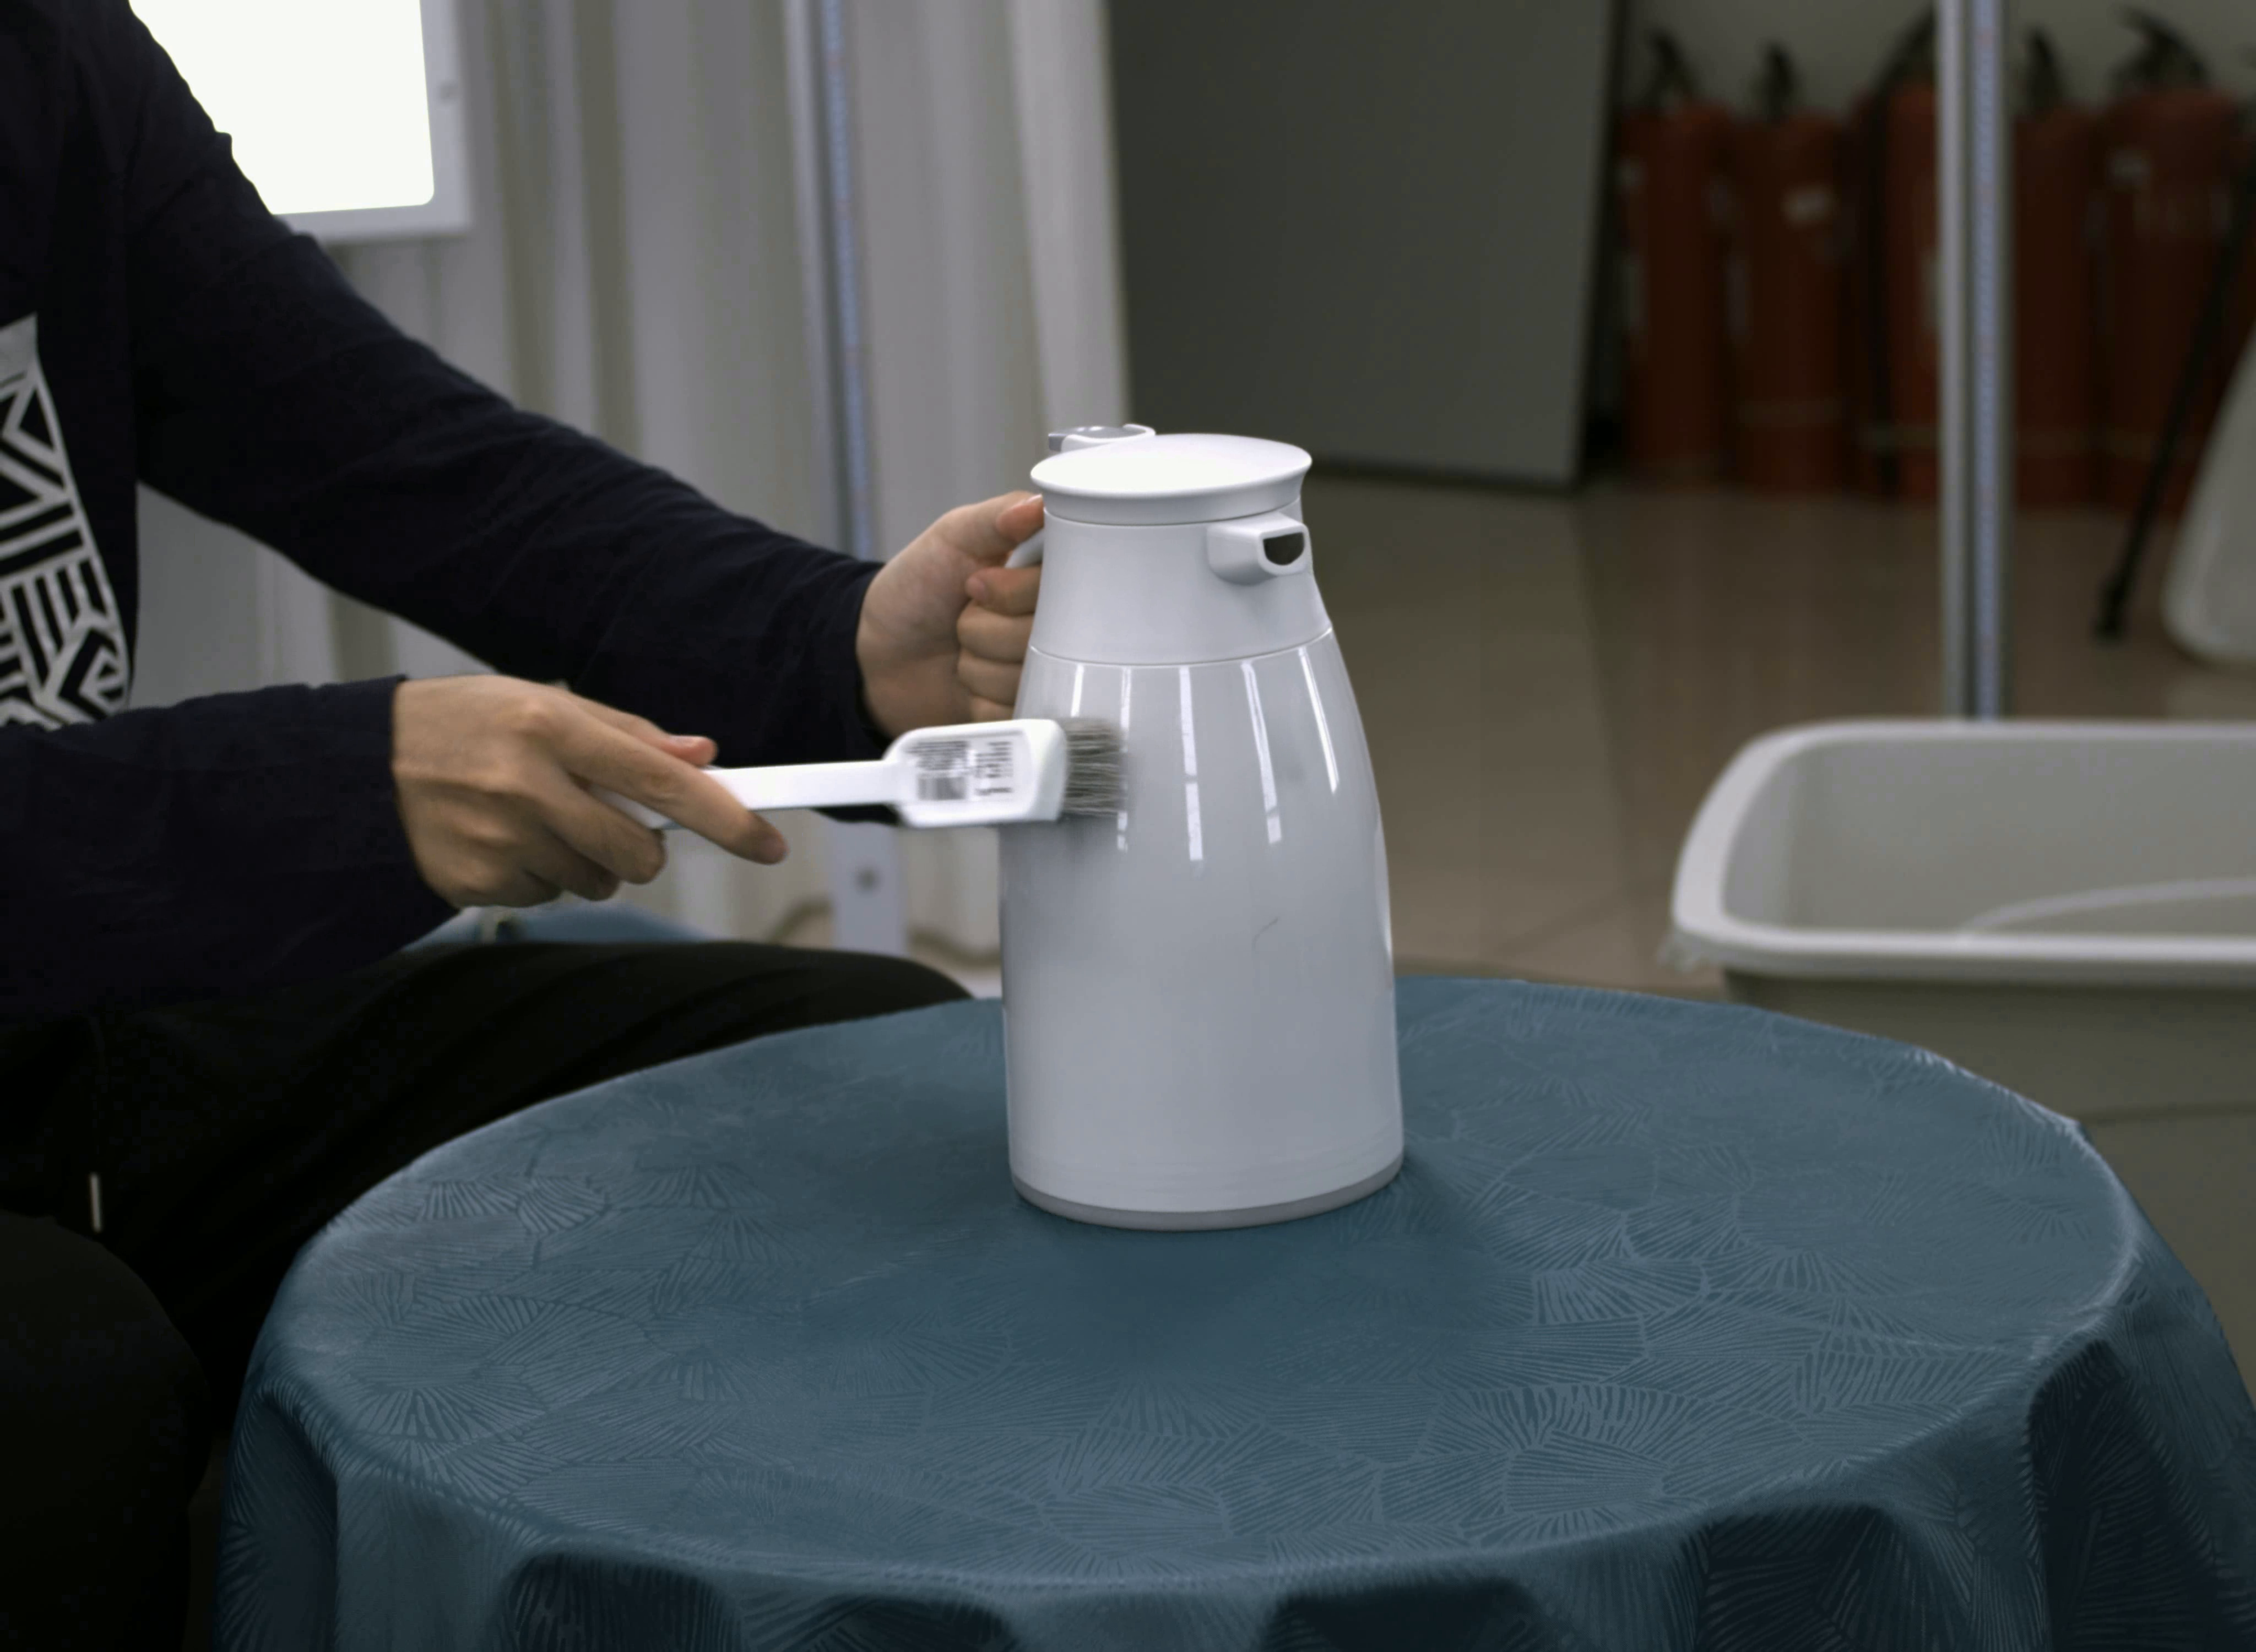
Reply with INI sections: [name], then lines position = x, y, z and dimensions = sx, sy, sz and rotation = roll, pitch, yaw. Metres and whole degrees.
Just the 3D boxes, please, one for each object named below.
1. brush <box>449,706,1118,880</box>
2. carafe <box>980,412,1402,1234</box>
[brush]
position = -0.111, -0.008, 1.750
dimensions = 0.244, 0.035, 0.049
rotation = -8, -1, 30
[carafe]
position = 0.007, -0.009, 1.777
dimensions = 0.129, 0.251, 0.169
rotation = -13, 16, -34
